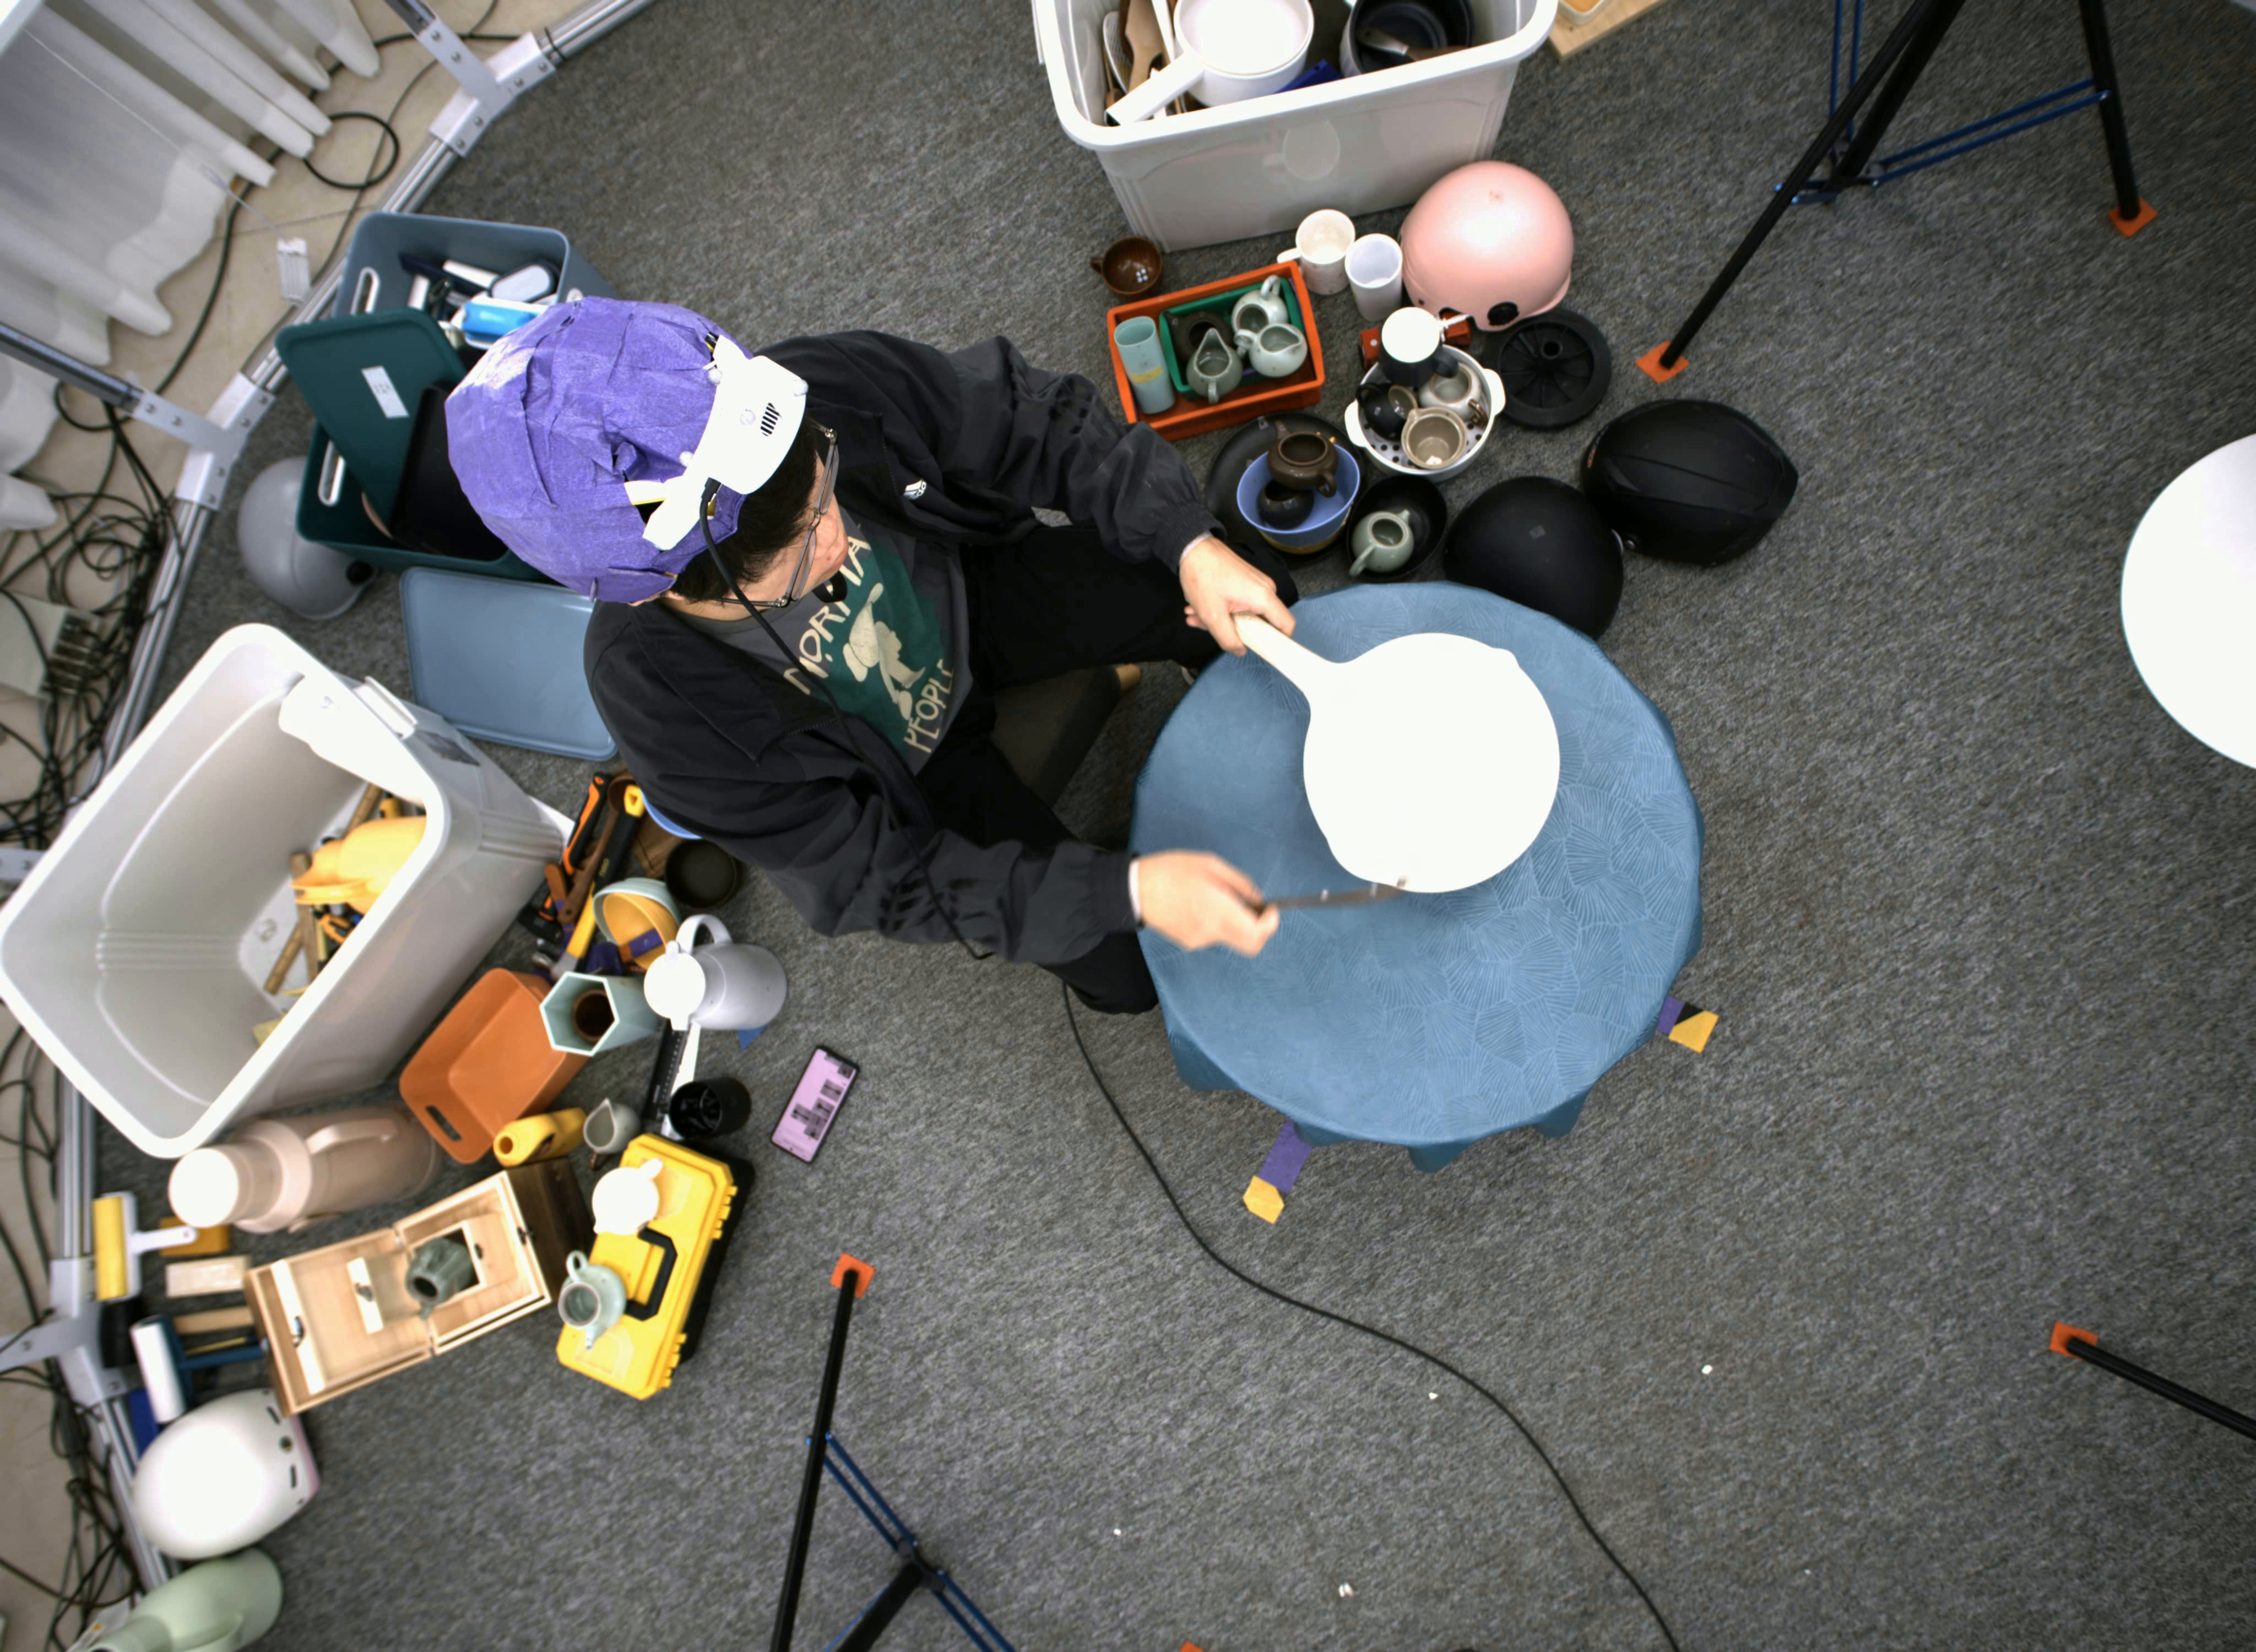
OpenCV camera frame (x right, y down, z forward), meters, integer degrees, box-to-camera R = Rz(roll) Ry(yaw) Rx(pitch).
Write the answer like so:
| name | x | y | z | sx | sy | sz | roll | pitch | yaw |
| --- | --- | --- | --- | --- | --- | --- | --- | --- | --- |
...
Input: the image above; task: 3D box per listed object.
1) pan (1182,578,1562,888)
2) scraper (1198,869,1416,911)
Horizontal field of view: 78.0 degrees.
| name | x | y | z | sx | sy | sz | roll | pitch | yaw |
| --- | --- | --- | --- | --- | --- | --- | --- | --- | --- |
| pan | 0.239 | -0.123 | 1.387 | 0.432 | 0.101 | 0.268 | 40 | 111 | 18 |
| scraper | 0.168 | 0.062 | 1.313 | 0.213 | 0.075 | 0.011 | -10 | 88 | 20 |
